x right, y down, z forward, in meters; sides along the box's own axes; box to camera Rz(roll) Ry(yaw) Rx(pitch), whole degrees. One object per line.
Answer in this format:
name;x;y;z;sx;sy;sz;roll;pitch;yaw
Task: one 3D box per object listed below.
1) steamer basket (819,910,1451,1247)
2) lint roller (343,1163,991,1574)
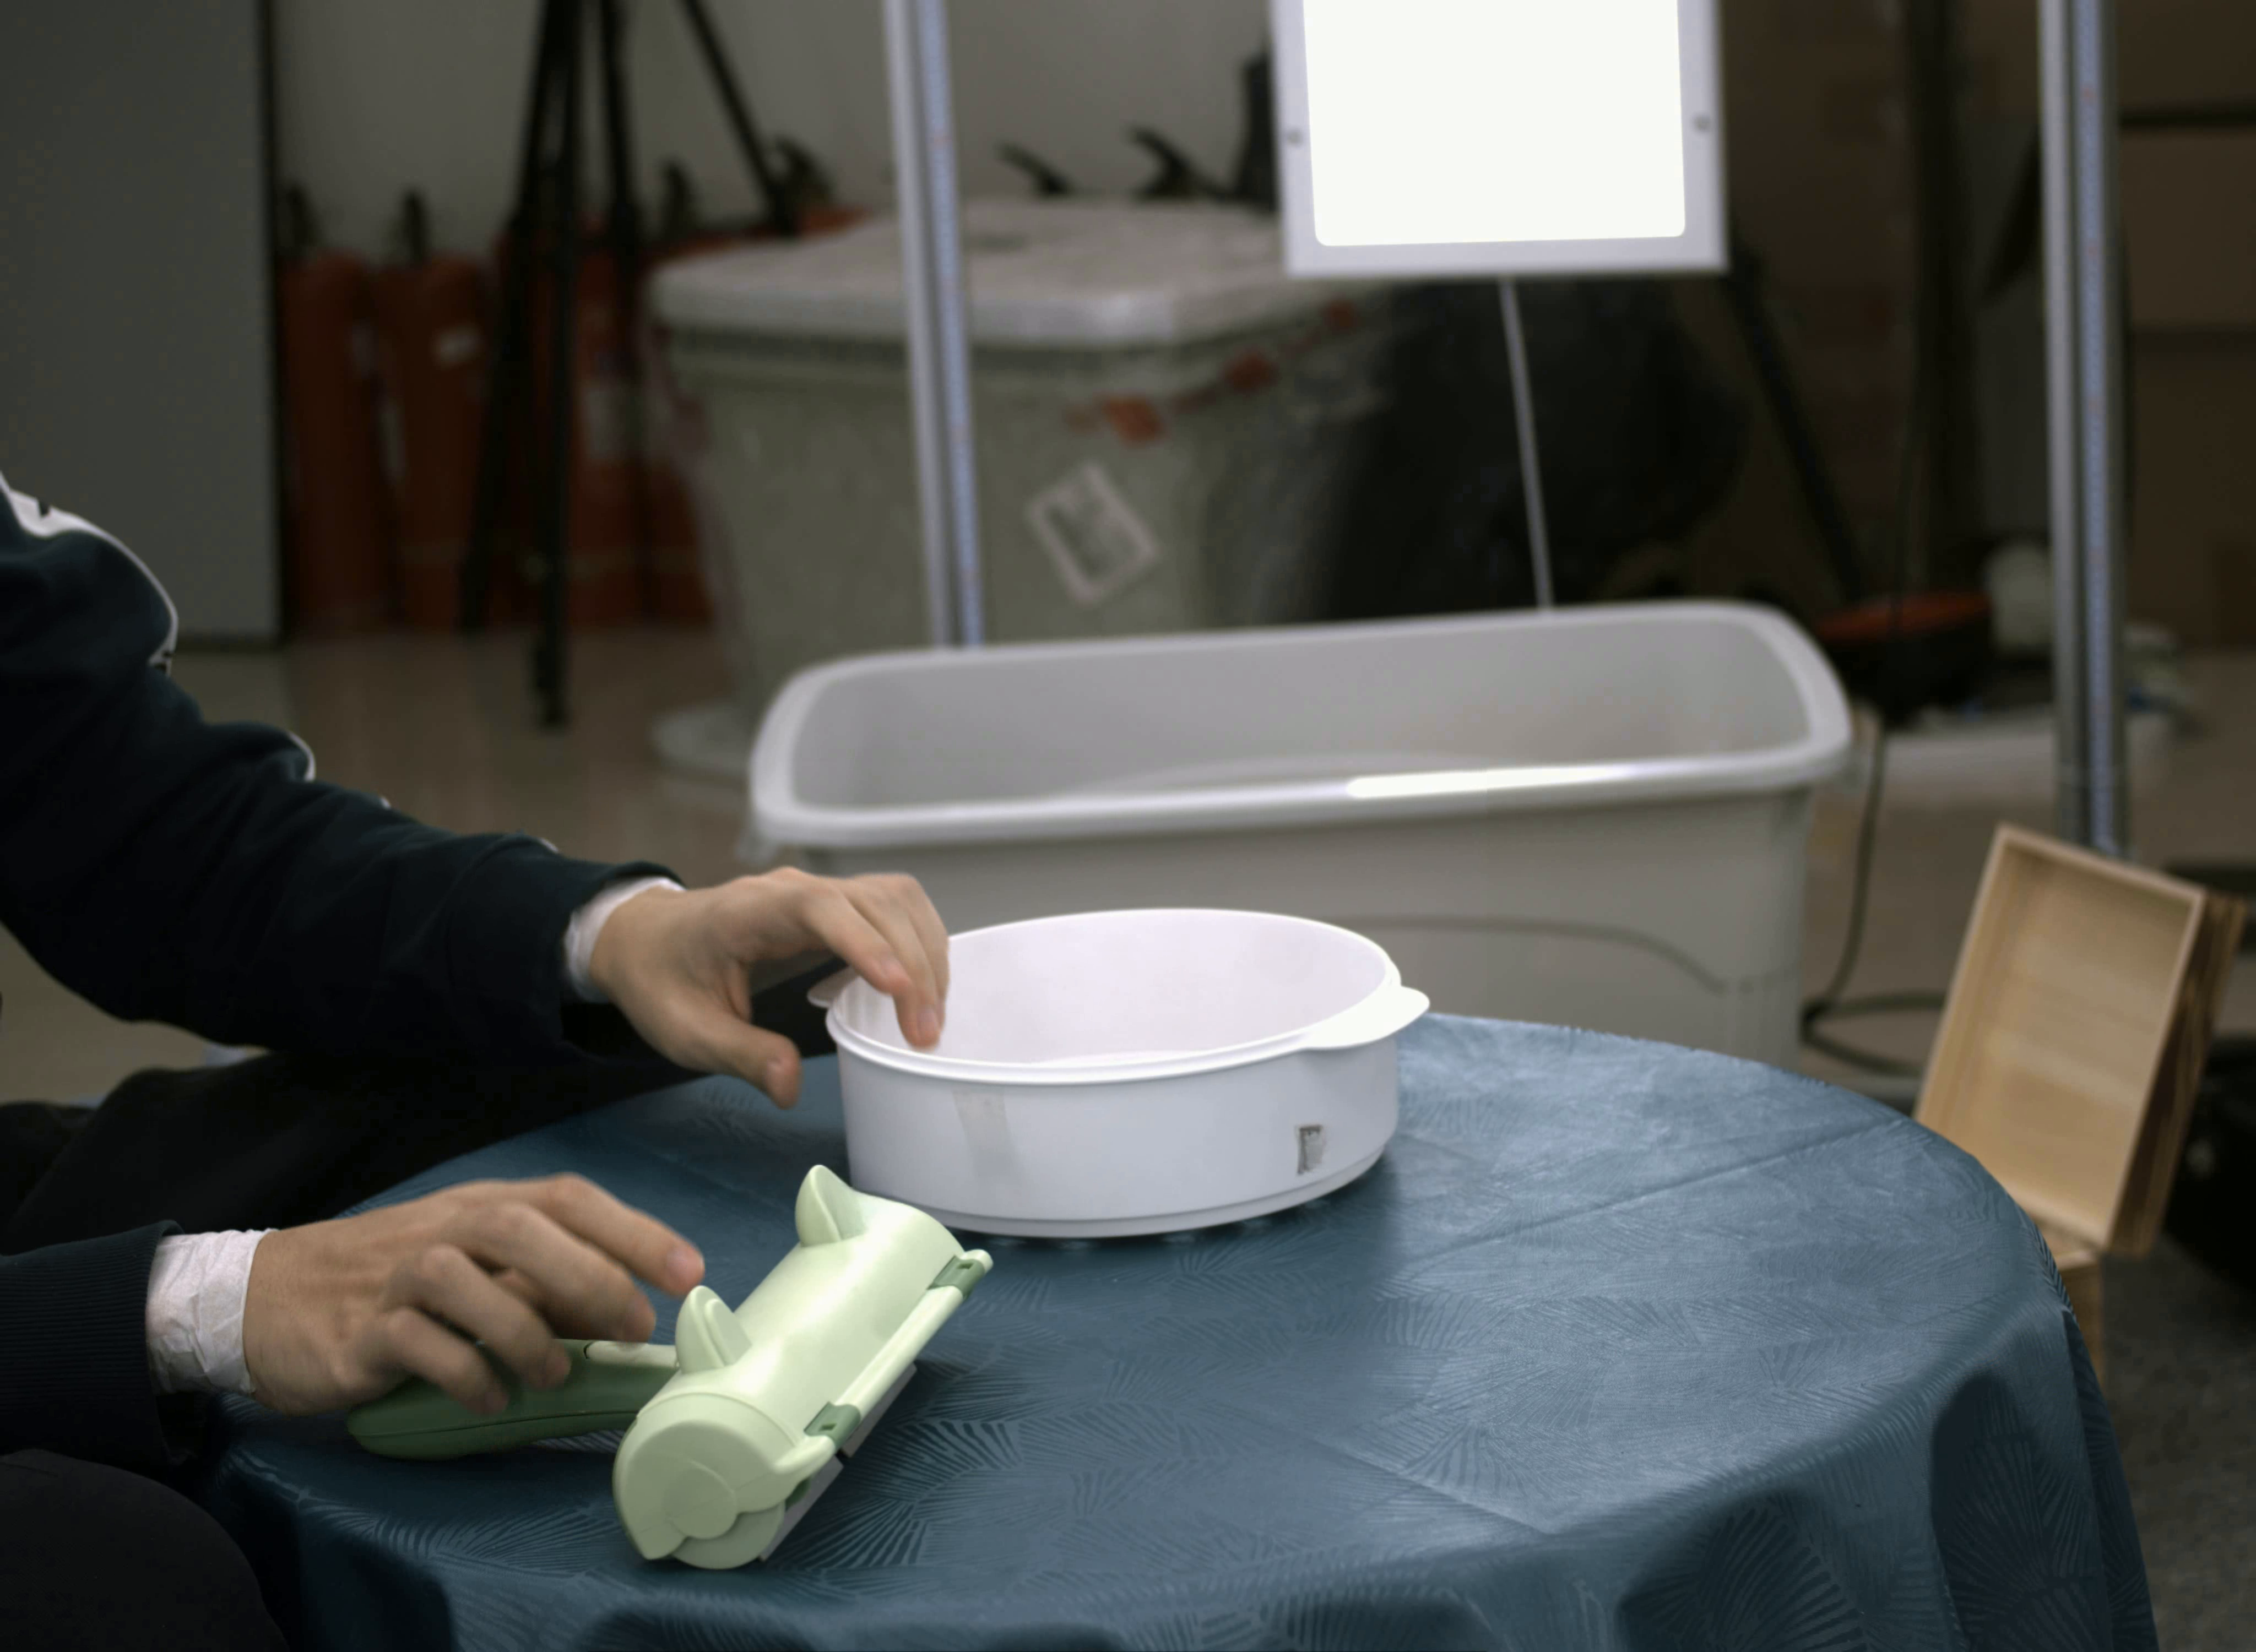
steamer basket;0.002;0.087;1.912;0.235;0.069;0.197;4;17;29
lint roller;-0.153;0.156;1.671;0.185;0.082;0.196;3;15;15
